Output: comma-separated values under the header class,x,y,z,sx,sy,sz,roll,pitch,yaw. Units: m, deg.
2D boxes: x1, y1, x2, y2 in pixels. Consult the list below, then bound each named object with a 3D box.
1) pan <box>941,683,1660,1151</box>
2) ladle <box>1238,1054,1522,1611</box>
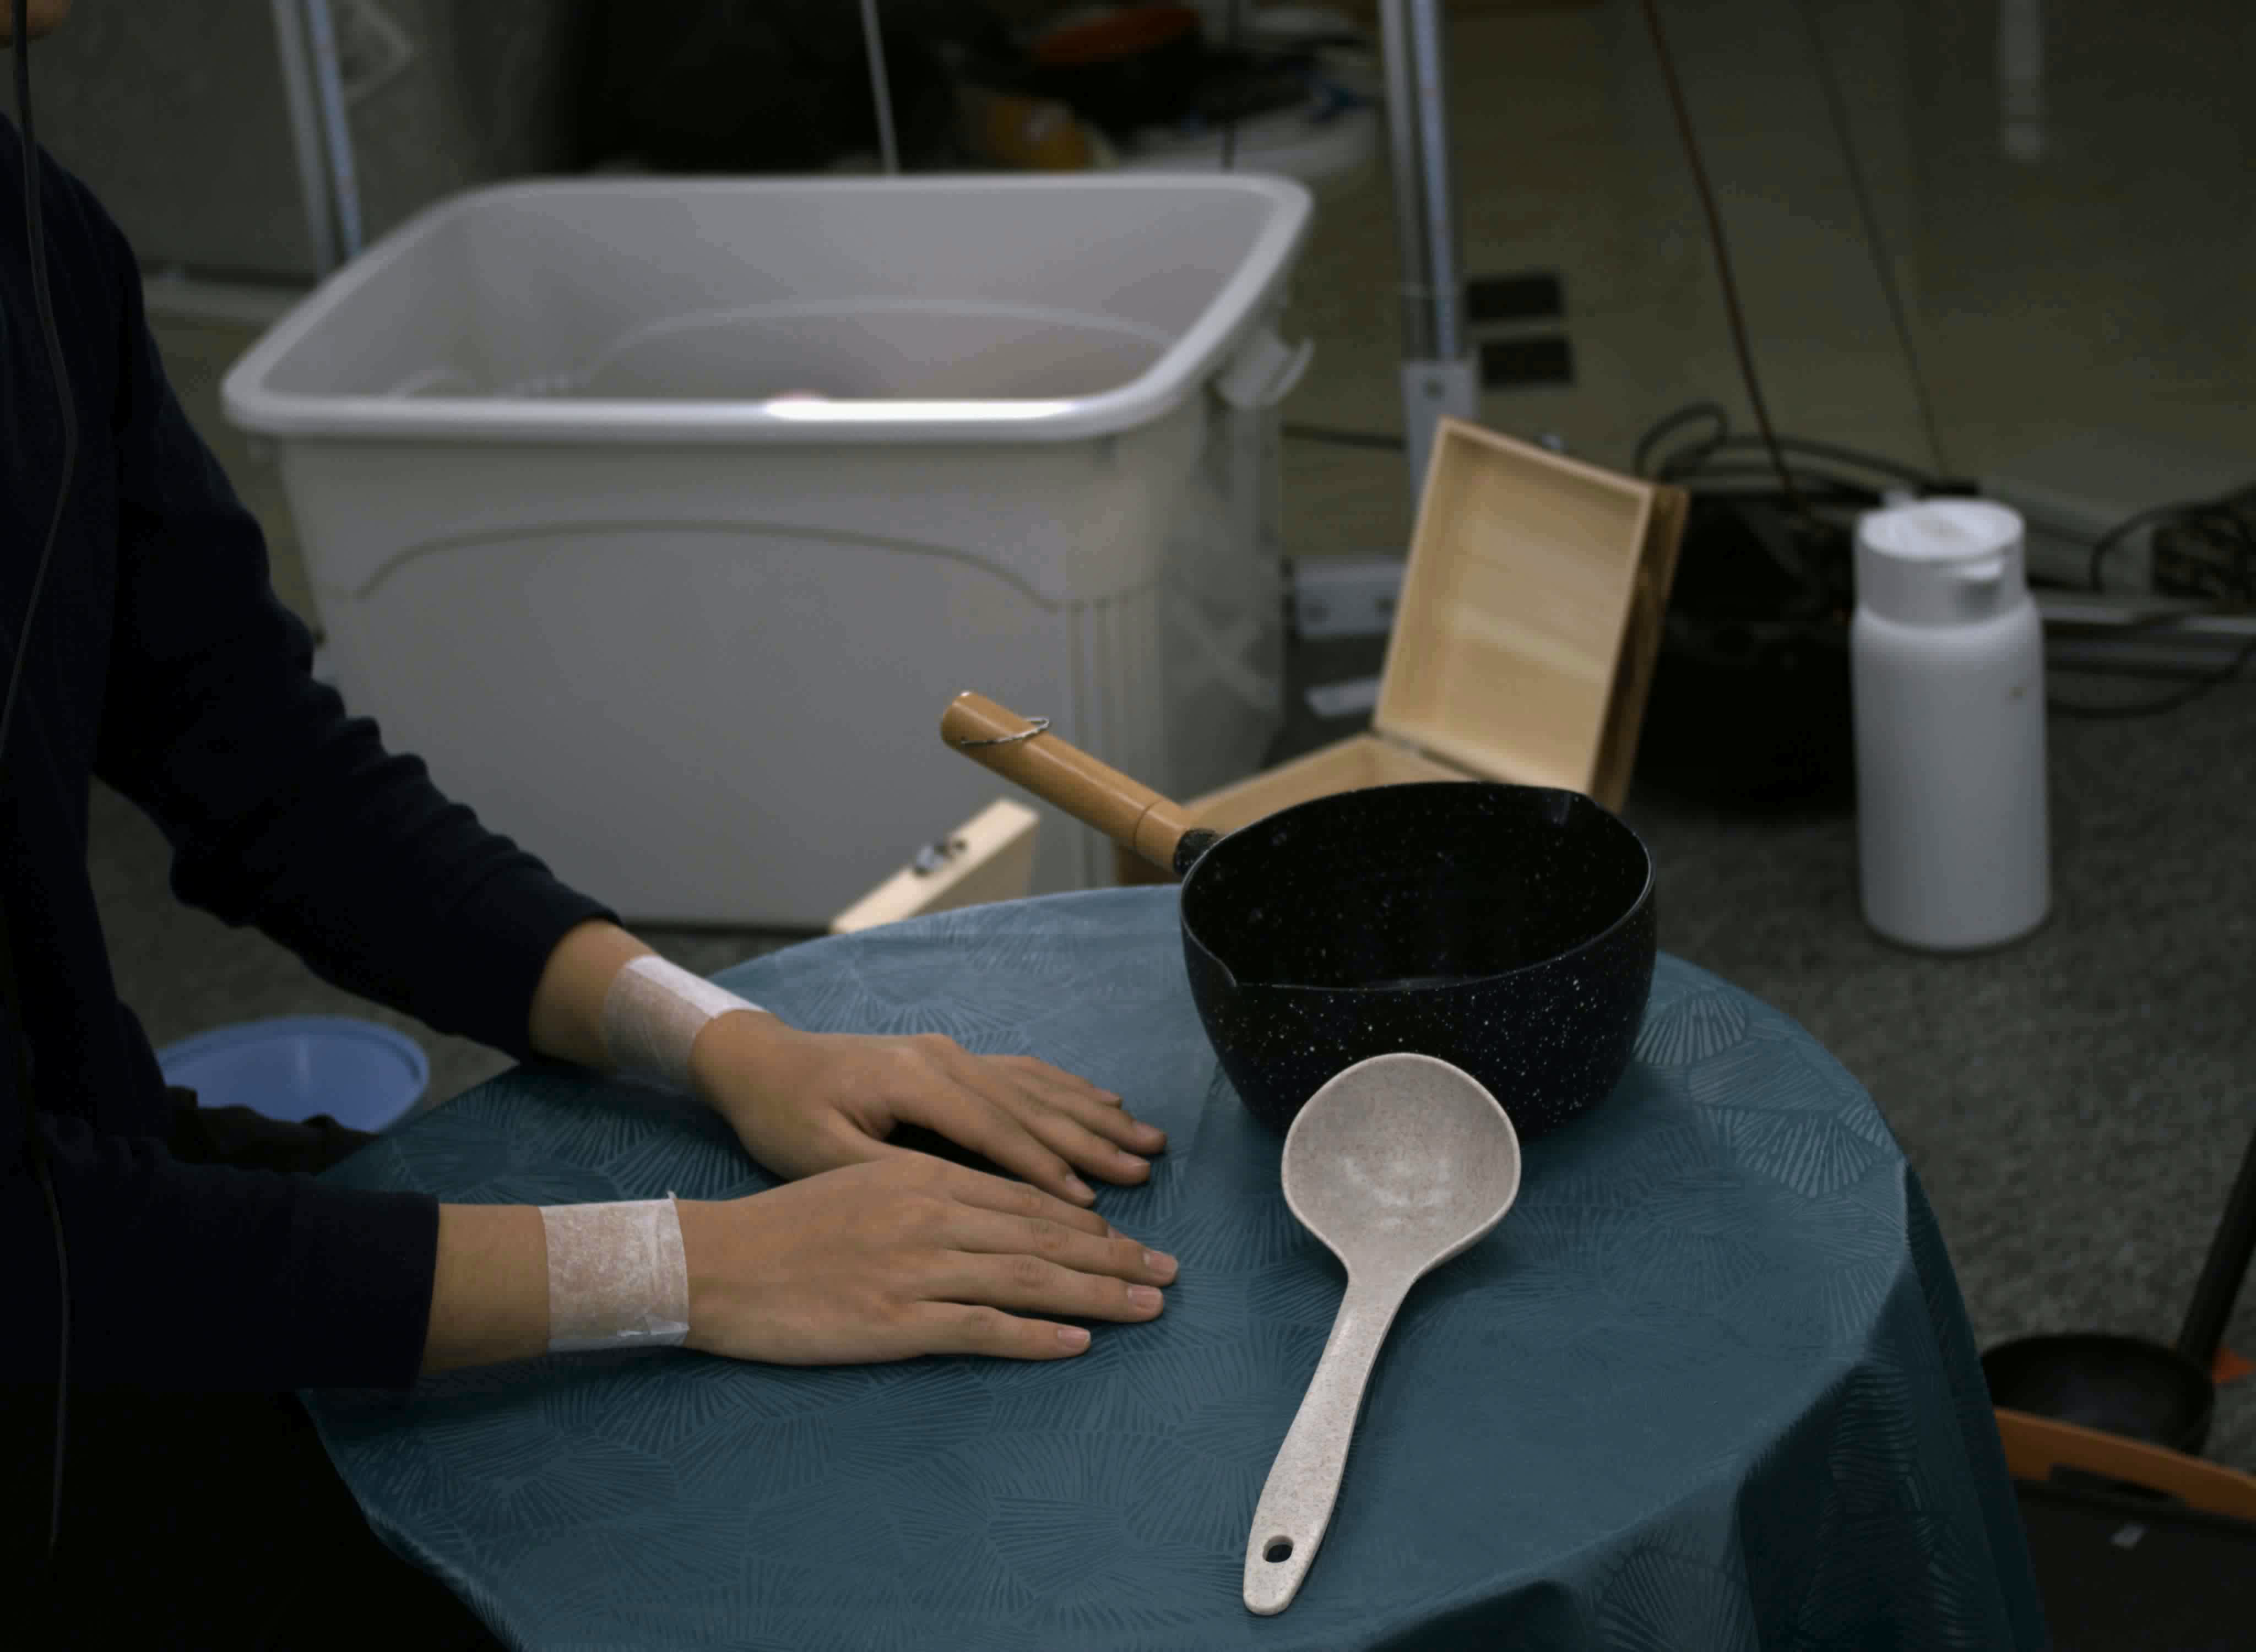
class,x,y,z,sx,sy,sz,roll,pitch,yaw
pan,0.055,0.031,2.234,0.340,0.110,0.205,18,35,39
ladle,0.074,0.171,1.978,0.089,0.070,0.271,5,27,13
